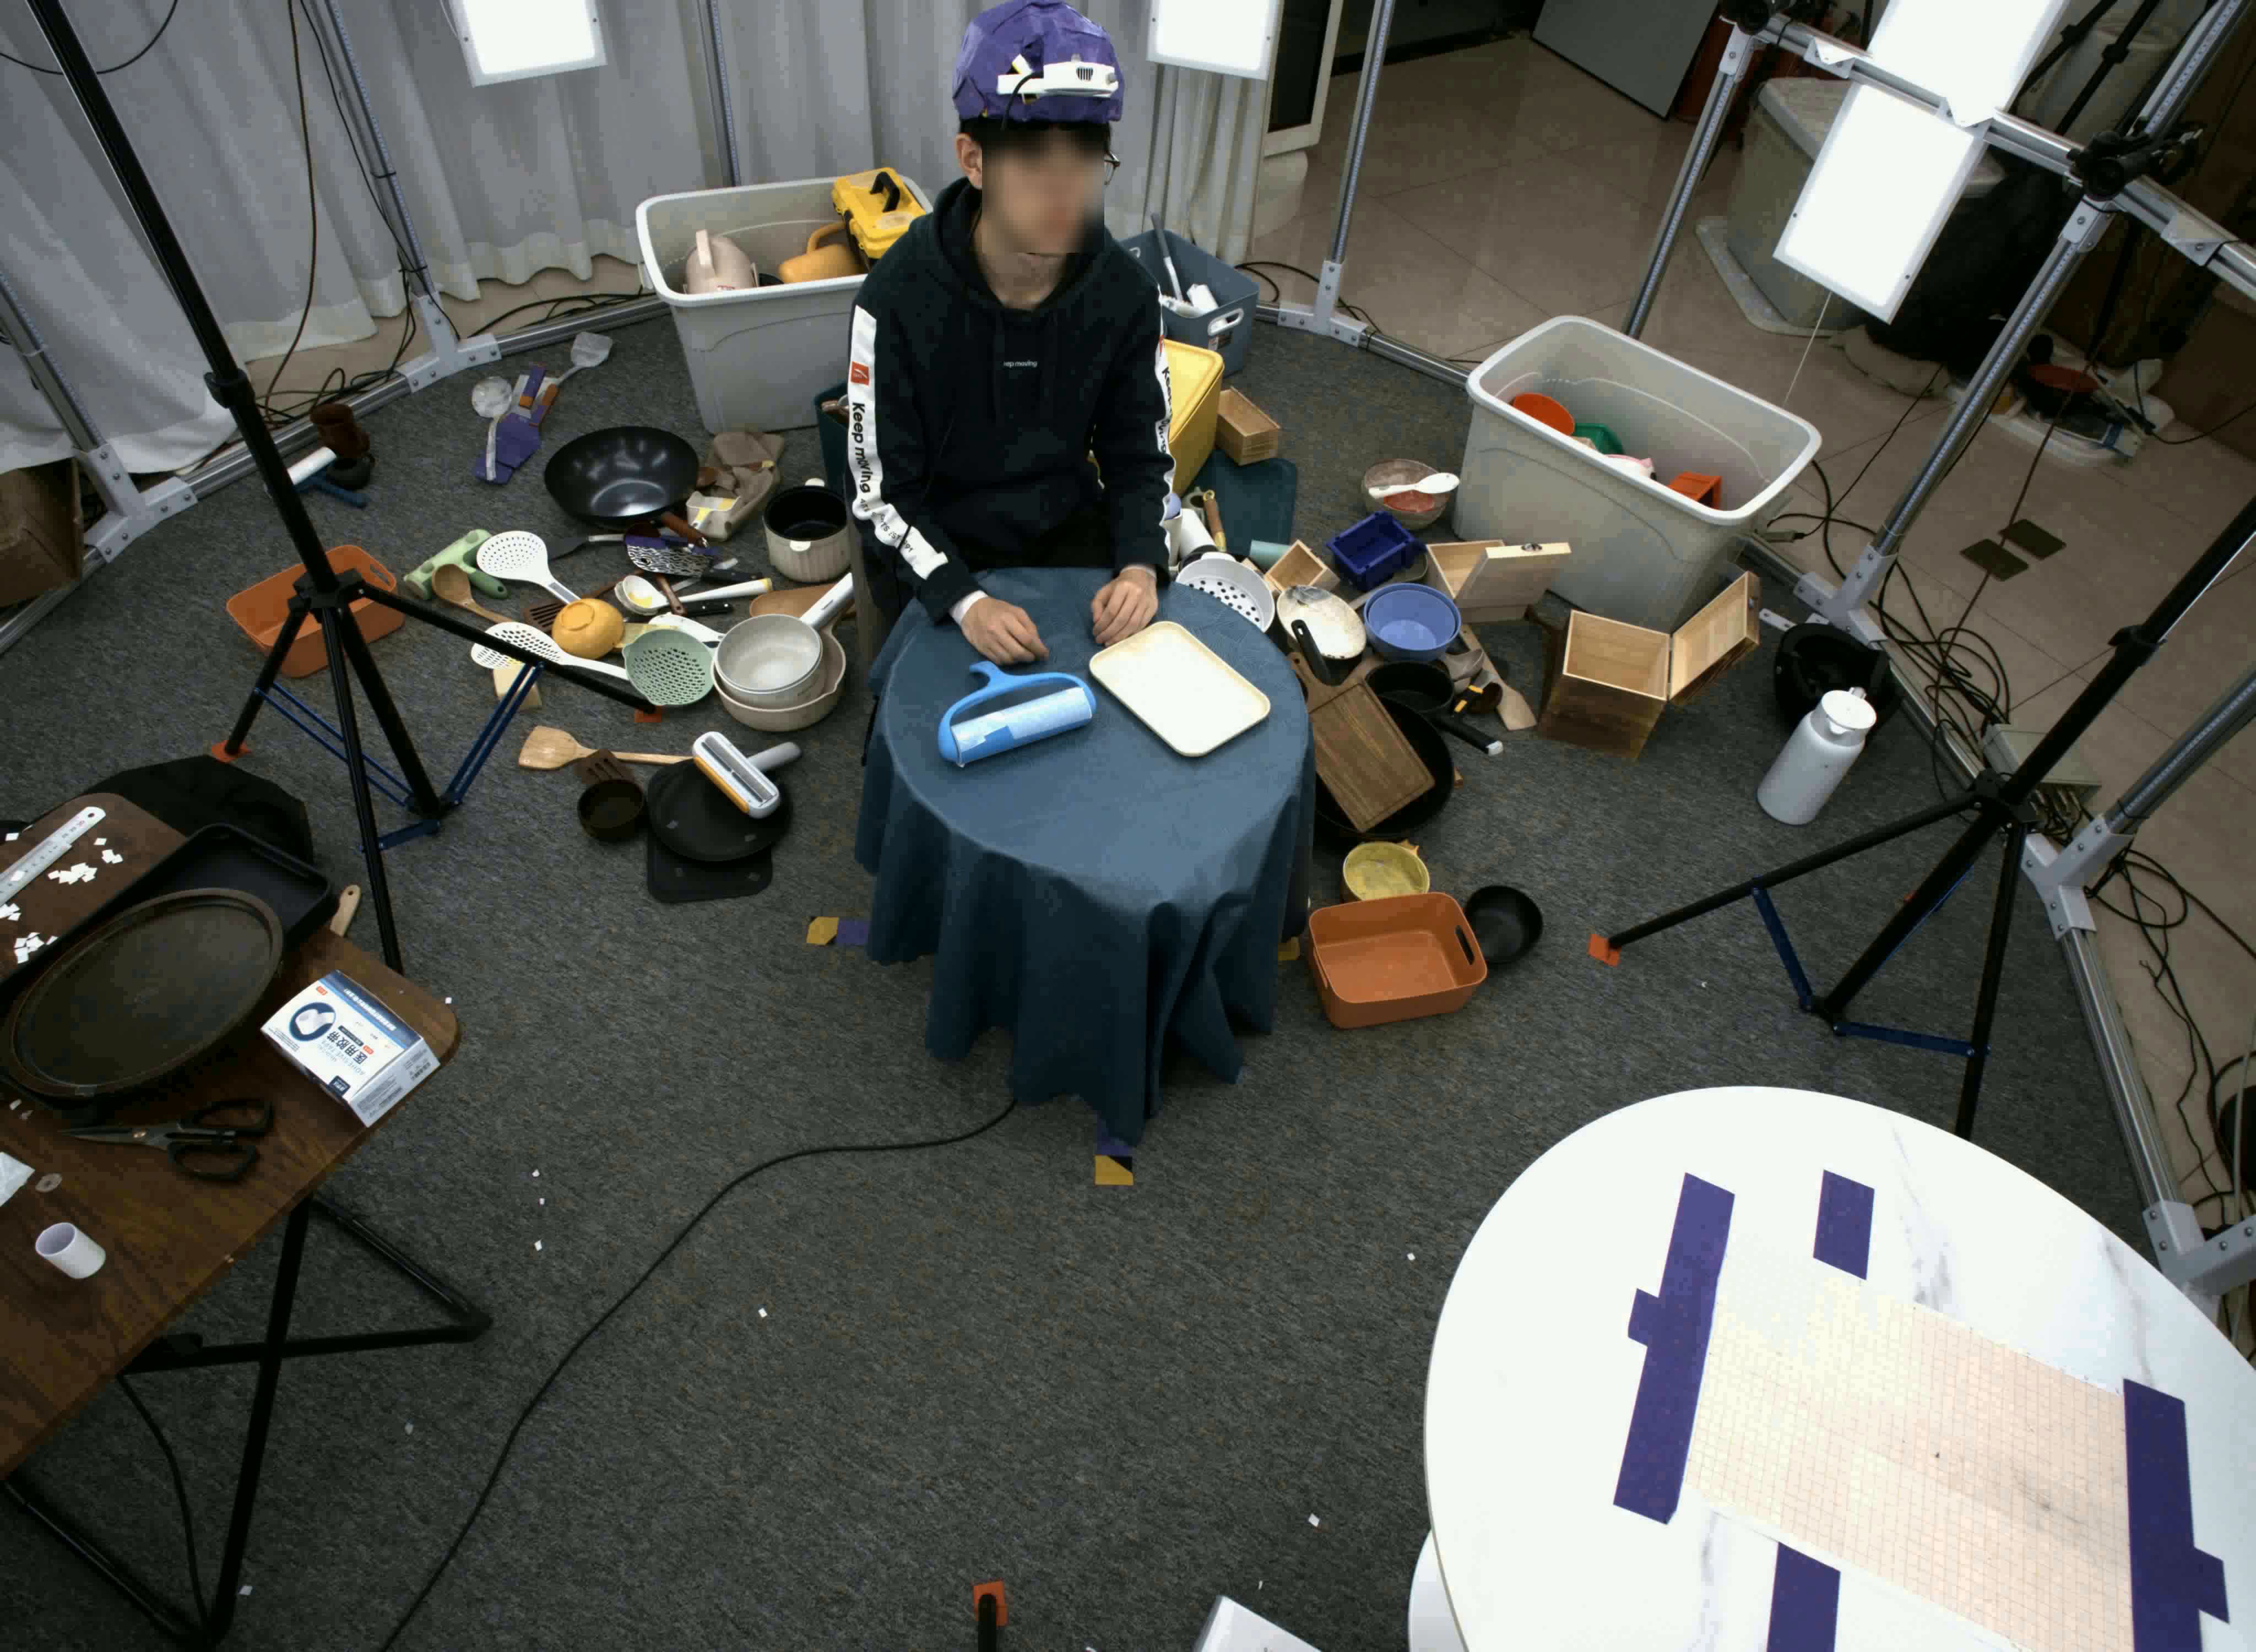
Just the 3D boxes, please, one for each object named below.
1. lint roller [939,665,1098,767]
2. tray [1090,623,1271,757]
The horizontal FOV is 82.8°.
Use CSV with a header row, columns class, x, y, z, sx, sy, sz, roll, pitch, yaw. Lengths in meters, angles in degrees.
class,x,y,z,sx,sy,sz,roll,pitch,yaw
lint roller,-0.175,-0.178,1.774,0.229,0.066,0.184,-23,55,-20
tray,0.073,-0.196,1.831,0.172,0.017,0.244,-30,57,-27
